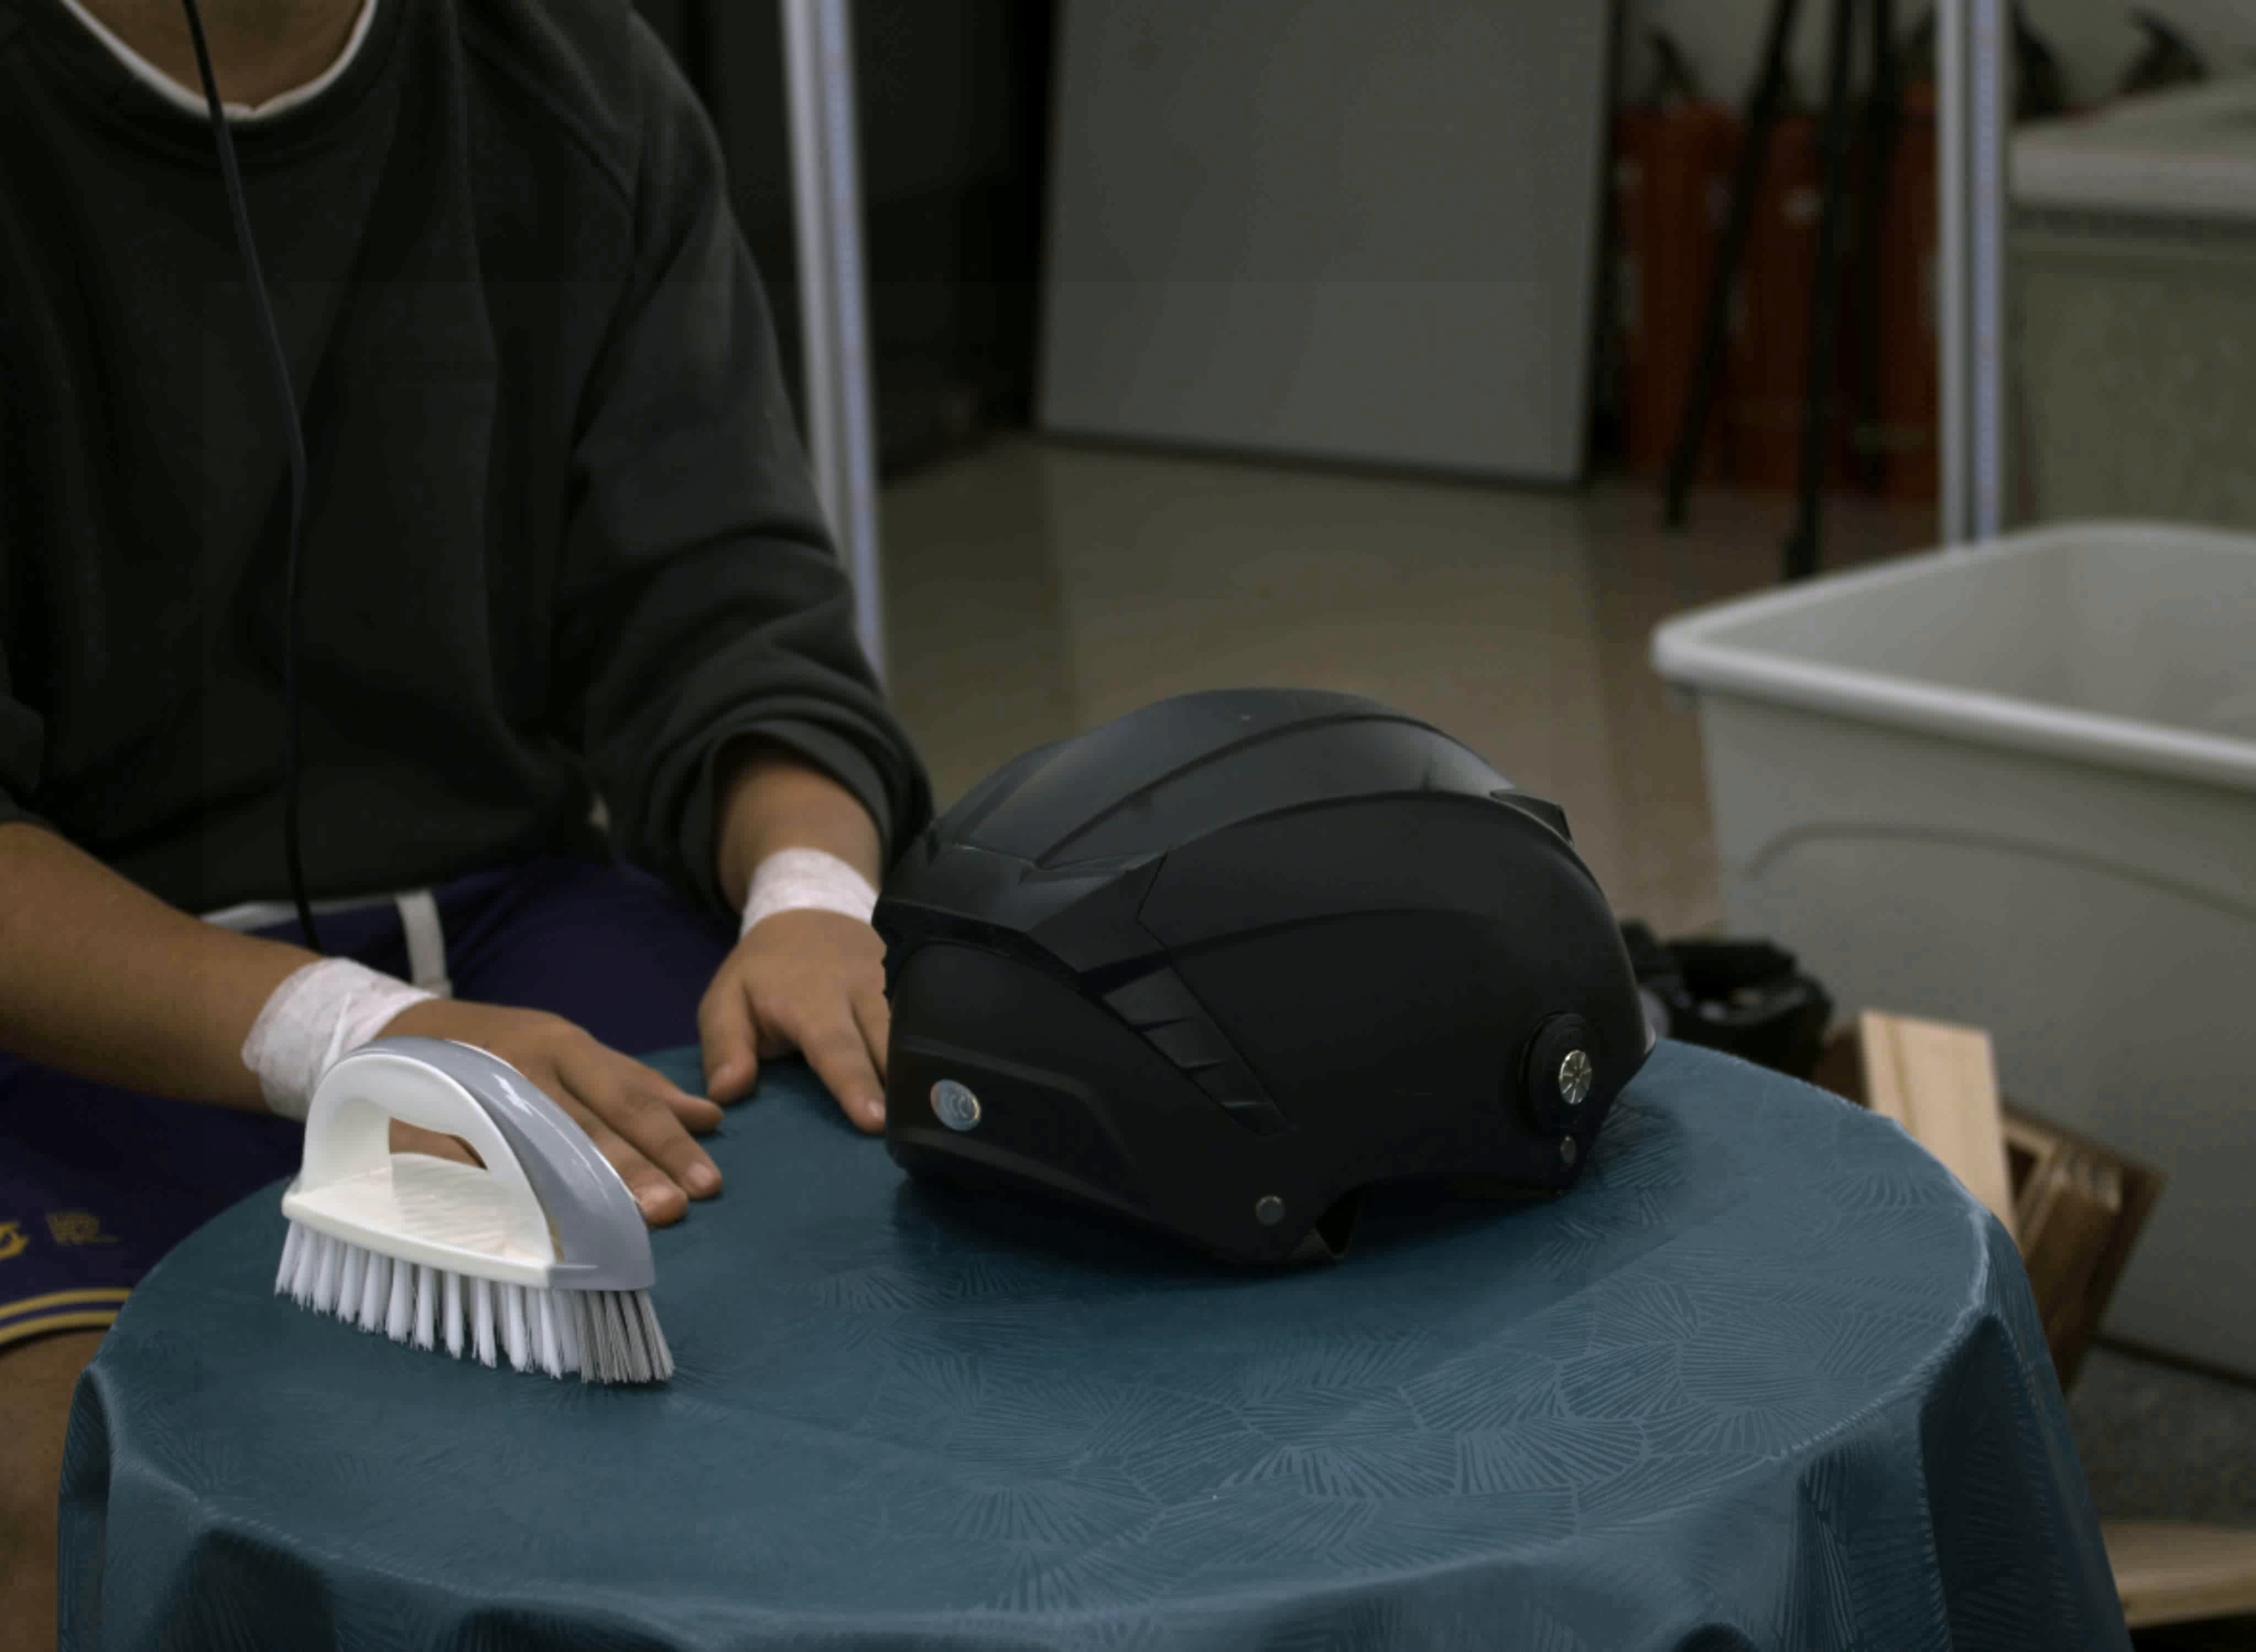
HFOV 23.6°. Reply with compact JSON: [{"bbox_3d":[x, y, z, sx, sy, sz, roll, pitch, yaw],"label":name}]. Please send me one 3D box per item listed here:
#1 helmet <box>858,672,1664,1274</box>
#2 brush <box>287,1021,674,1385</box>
[{"bbox_3d":[0.043,0.036,1.767,0.271,0.174,0.249,-20,21,-37],"label":"helmet"},{"bbox_3d":[-0.196,0.113,1.668,0.060,0.095,0.177,-16,20,-38],"label":"brush"}]
